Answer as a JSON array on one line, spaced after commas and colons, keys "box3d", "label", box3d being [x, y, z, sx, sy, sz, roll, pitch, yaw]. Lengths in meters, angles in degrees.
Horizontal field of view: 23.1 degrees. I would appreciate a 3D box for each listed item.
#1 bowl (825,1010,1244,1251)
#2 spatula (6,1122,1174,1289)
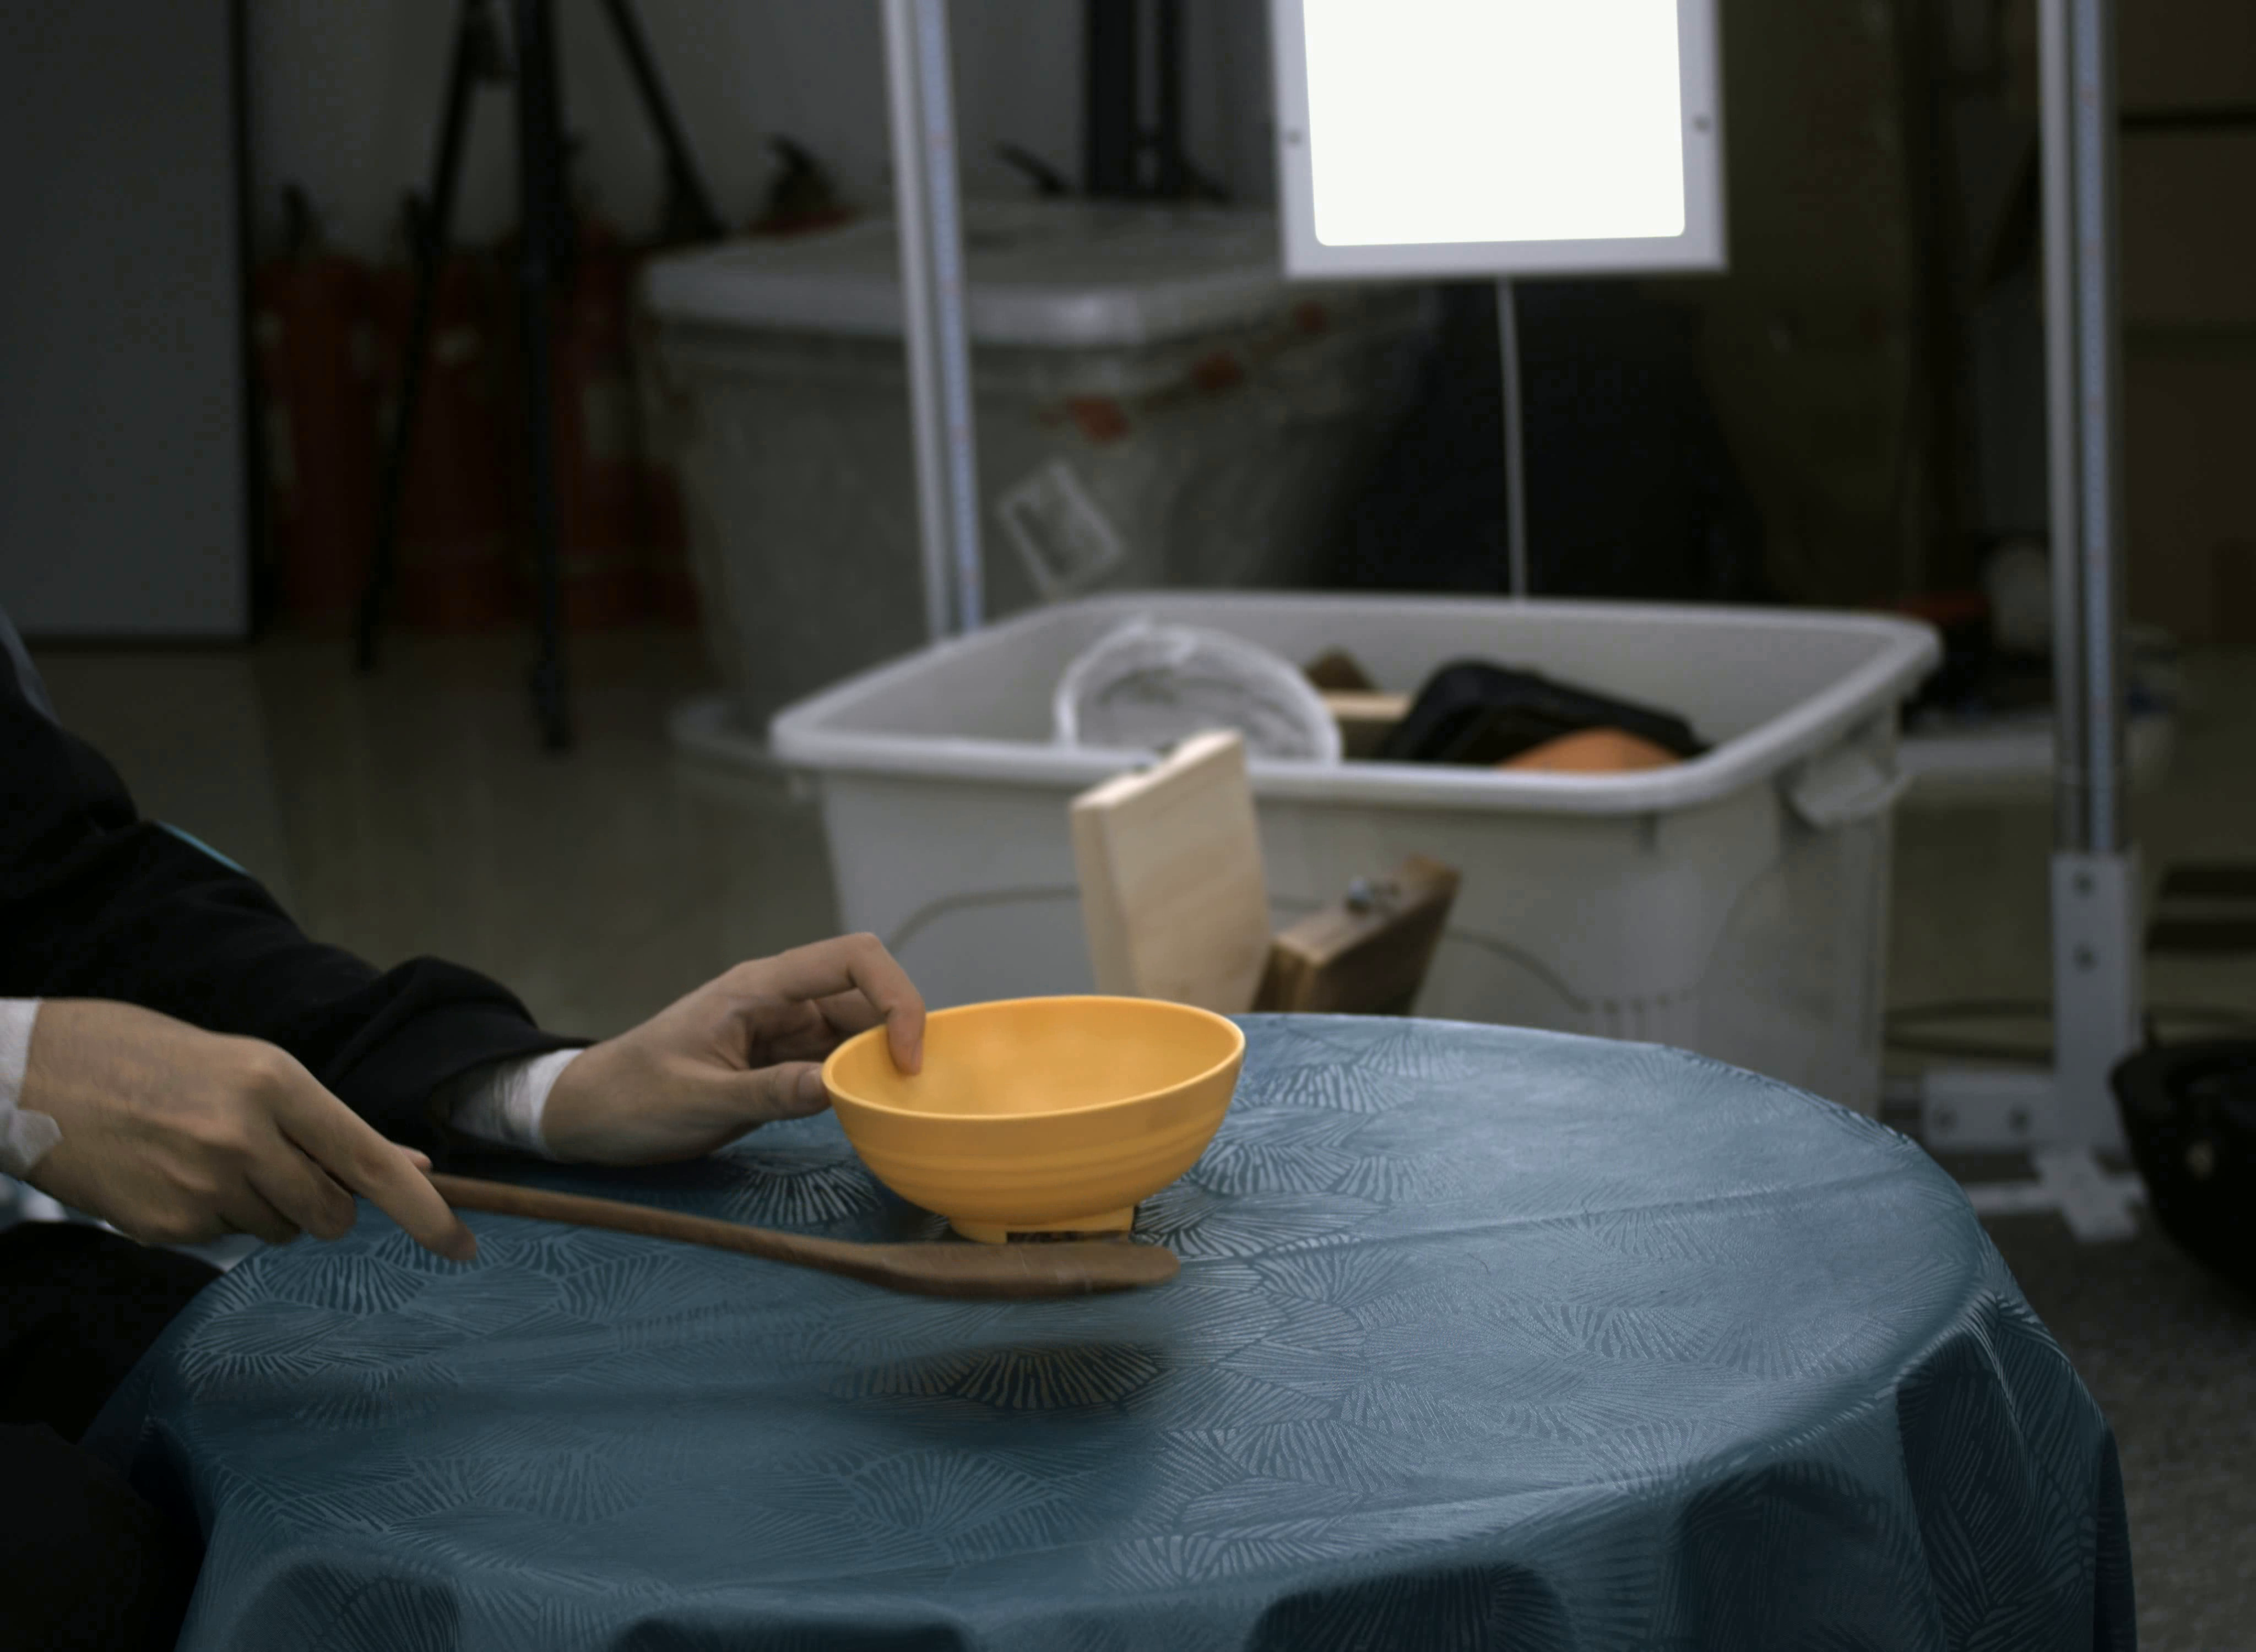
[{"box3d": [-0.029, 0.107, 1.872, 0.145, 0.060, 0.145, -6, 11, 0], "label": "bowl"}, {"box3d": [-0.175, 0.119, 1.744, 0.389, 0.016, 0.095, 7, 3, 14], "label": "spatula"}]
